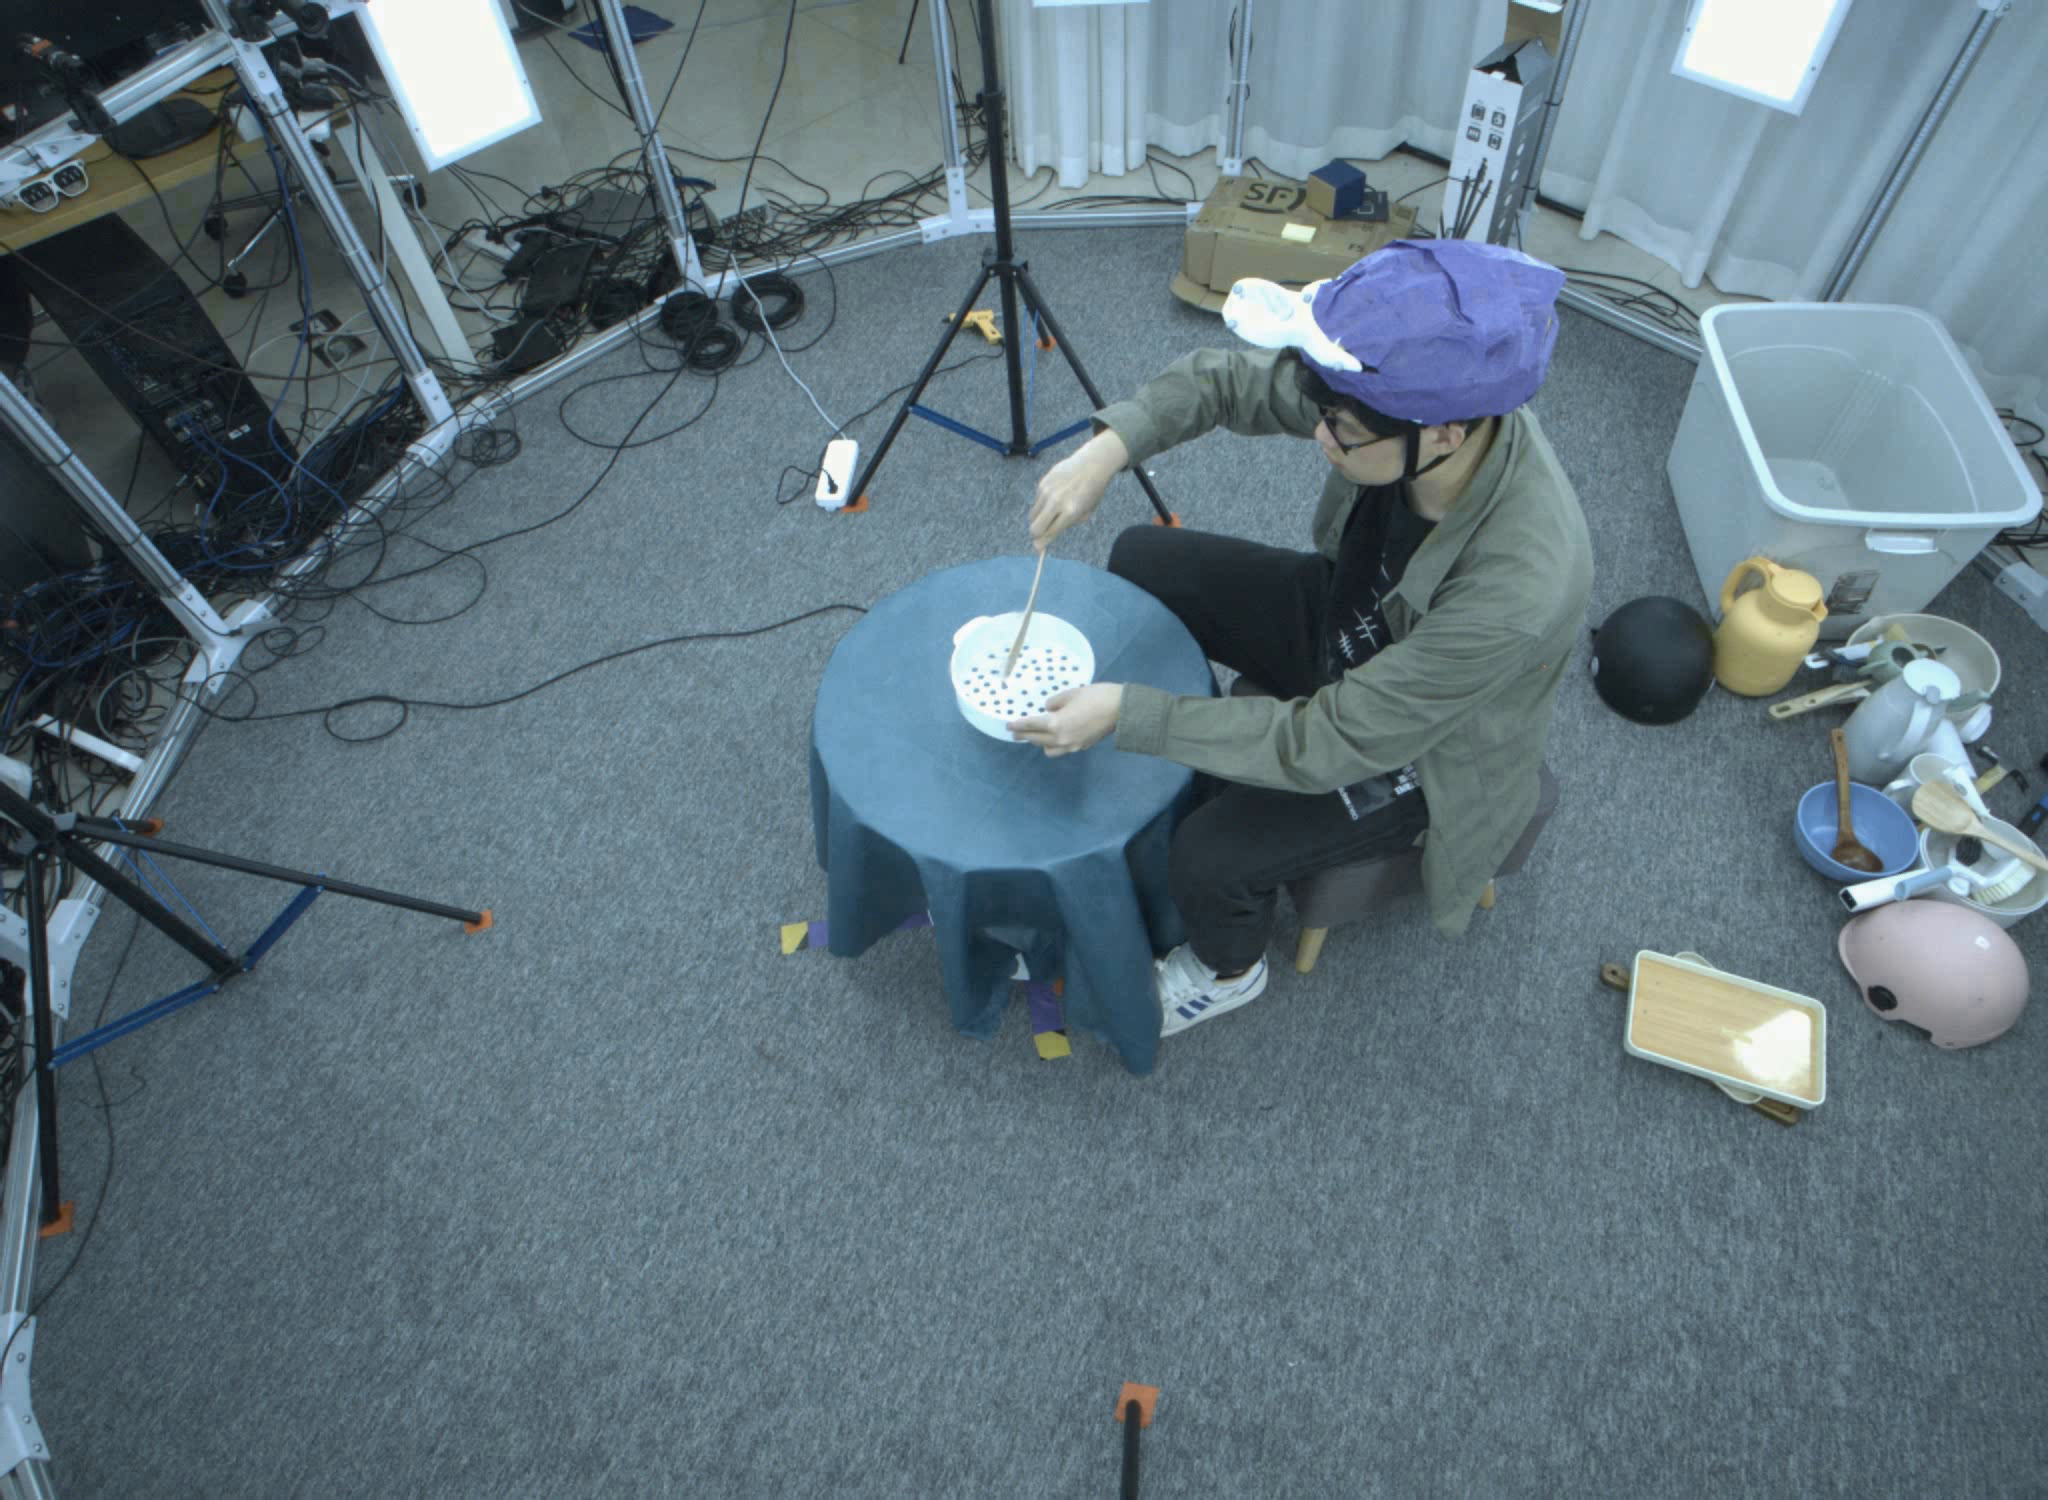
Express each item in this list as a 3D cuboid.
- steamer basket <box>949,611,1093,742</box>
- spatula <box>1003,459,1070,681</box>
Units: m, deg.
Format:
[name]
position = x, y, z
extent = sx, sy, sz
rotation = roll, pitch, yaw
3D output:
[steamer basket]
position = -0.004, -0.103, 1.740
extent = 0.227, 0.070, 0.203
rotation = 37, 62, 23
[spatula]
position = 0.017, -0.257, 1.707
extent = 0.016, 0.080, 0.327
rotation = 14, 82, 4
